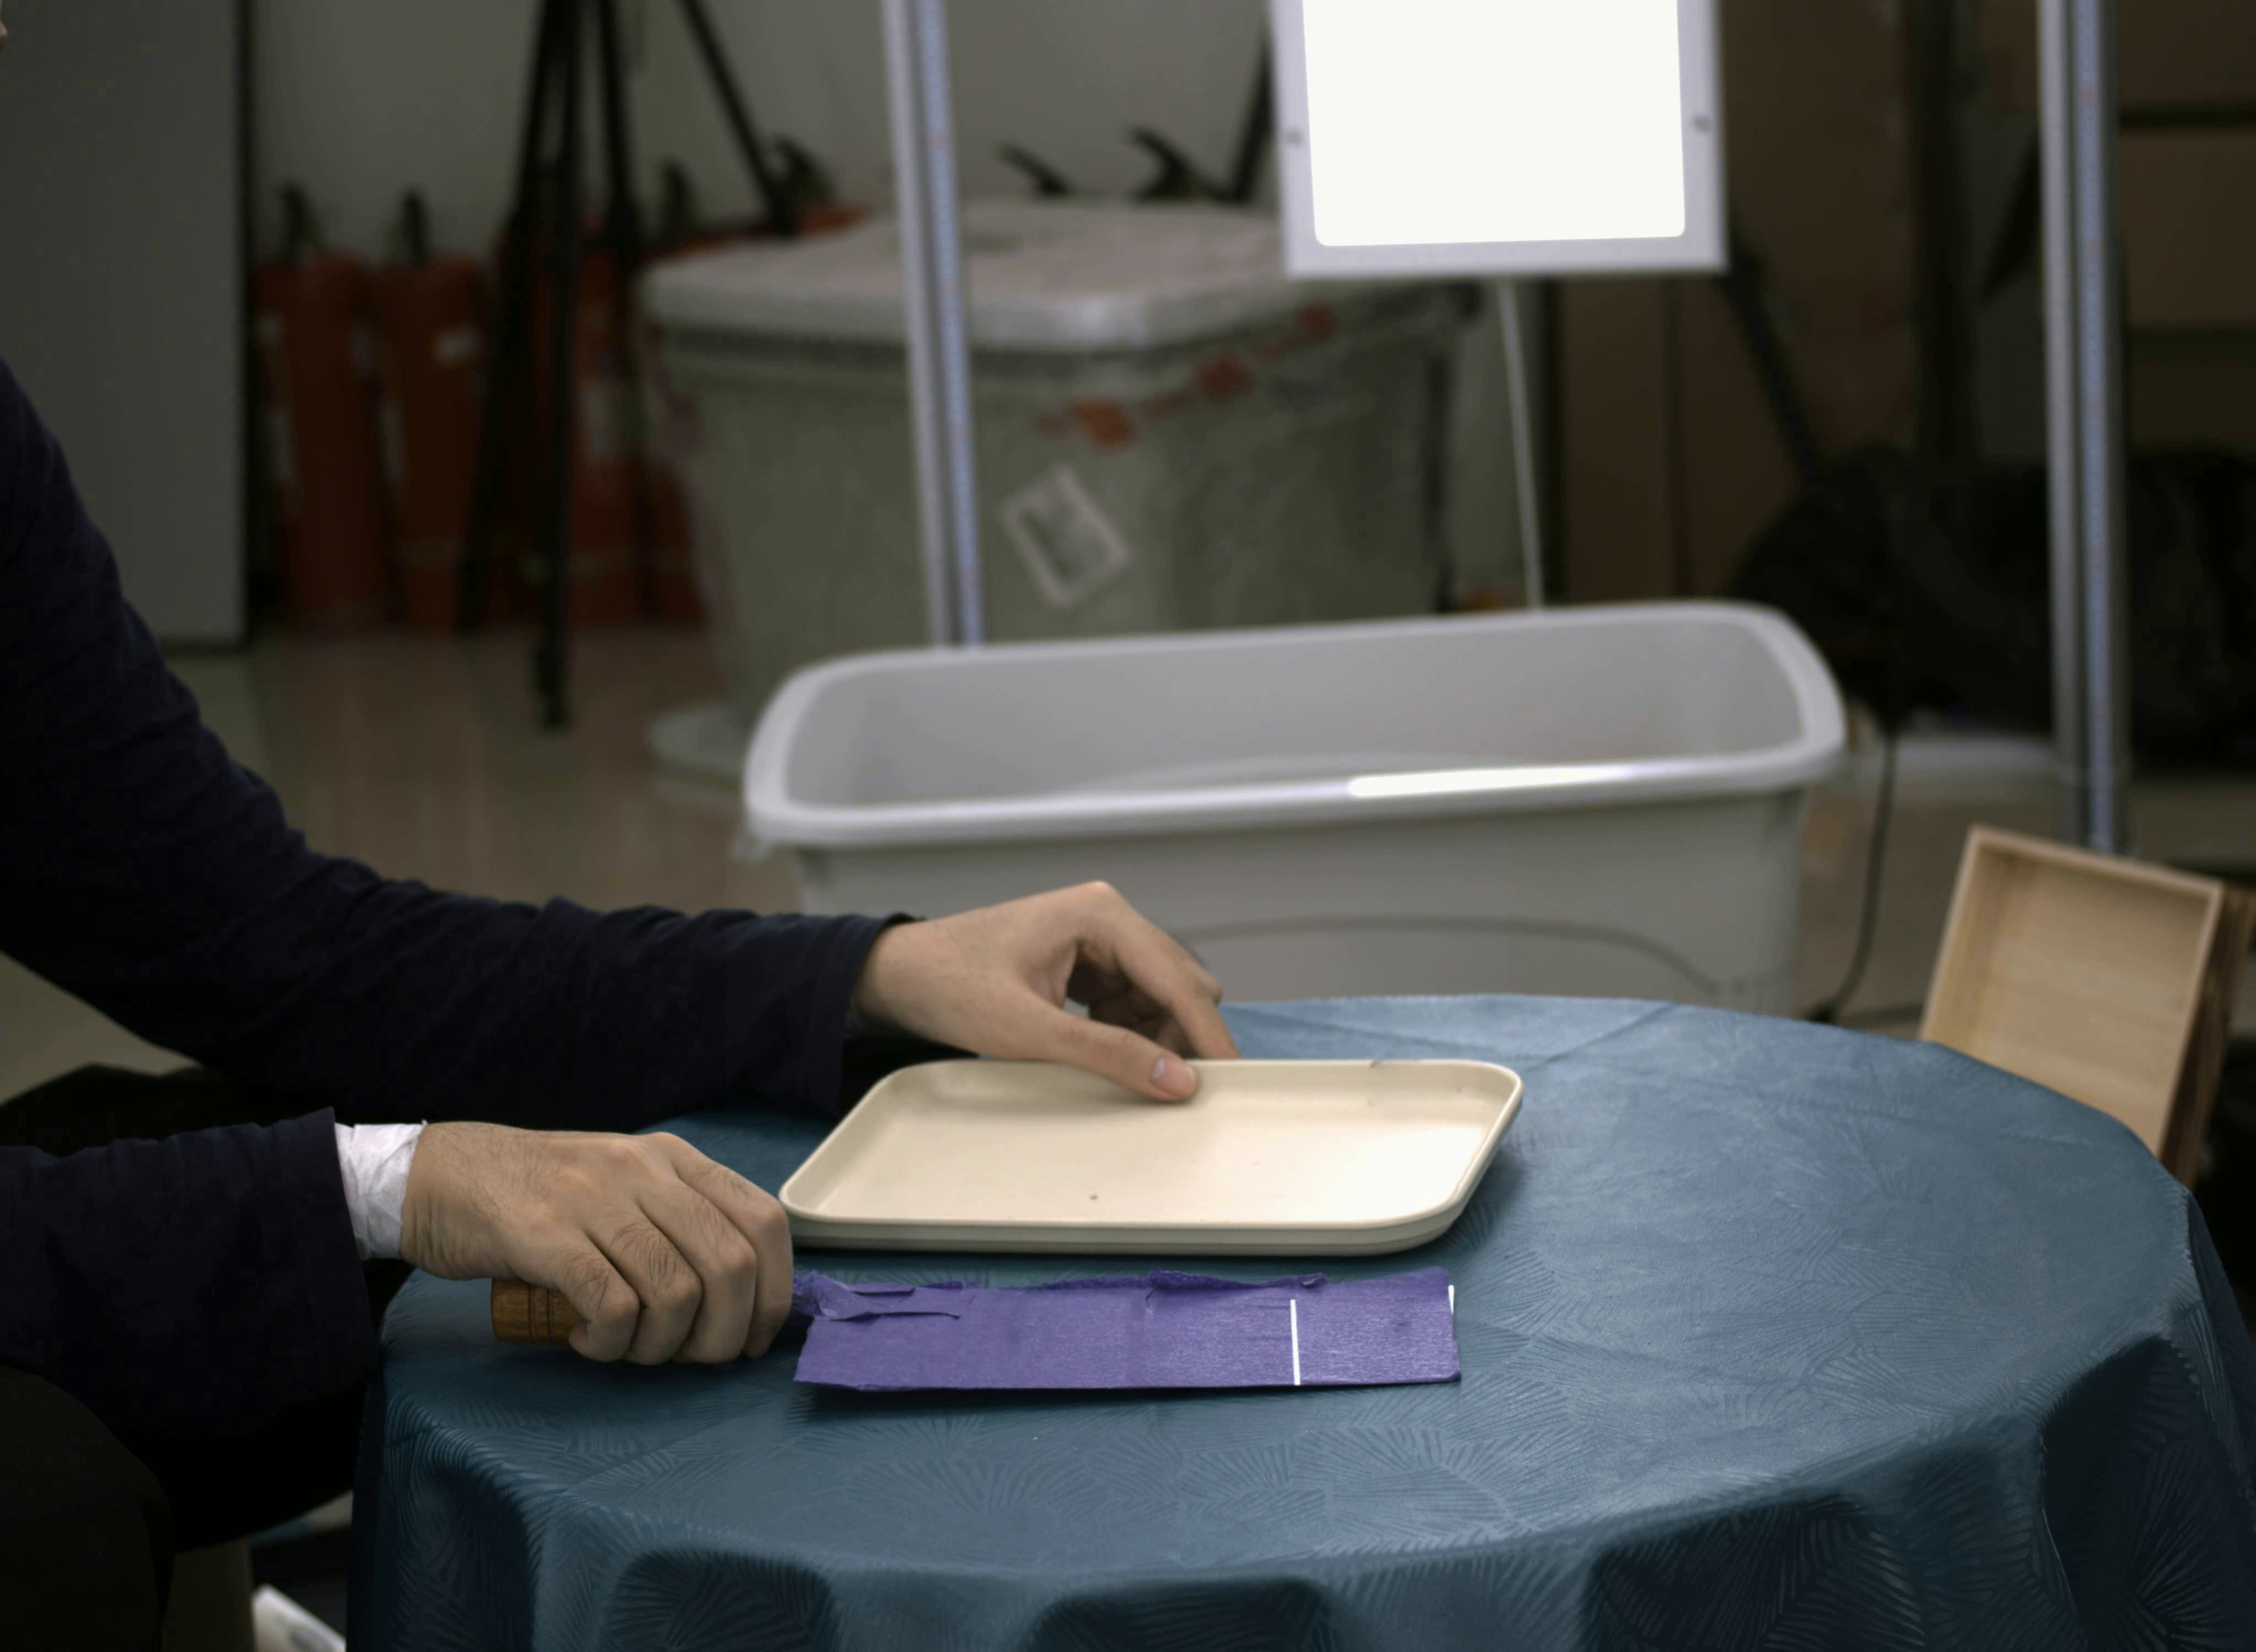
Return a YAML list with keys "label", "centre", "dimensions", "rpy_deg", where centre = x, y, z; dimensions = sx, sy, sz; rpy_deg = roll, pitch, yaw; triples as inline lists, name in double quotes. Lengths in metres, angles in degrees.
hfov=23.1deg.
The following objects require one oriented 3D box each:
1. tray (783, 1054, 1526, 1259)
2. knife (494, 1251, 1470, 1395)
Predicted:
- label: "tray"
  centre: [0.011, 0.114, 1.901]
  dimensions: [0.242, 0.017, 0.168]
  rpy_deg: [-1, 17, 18]
- label: "knife"
  centre: [-0.049, 0.156, 1.743]
  dimensions: [0.316, 0.032, 0.103]
  rpy_deg: [-3, 13, 6]
